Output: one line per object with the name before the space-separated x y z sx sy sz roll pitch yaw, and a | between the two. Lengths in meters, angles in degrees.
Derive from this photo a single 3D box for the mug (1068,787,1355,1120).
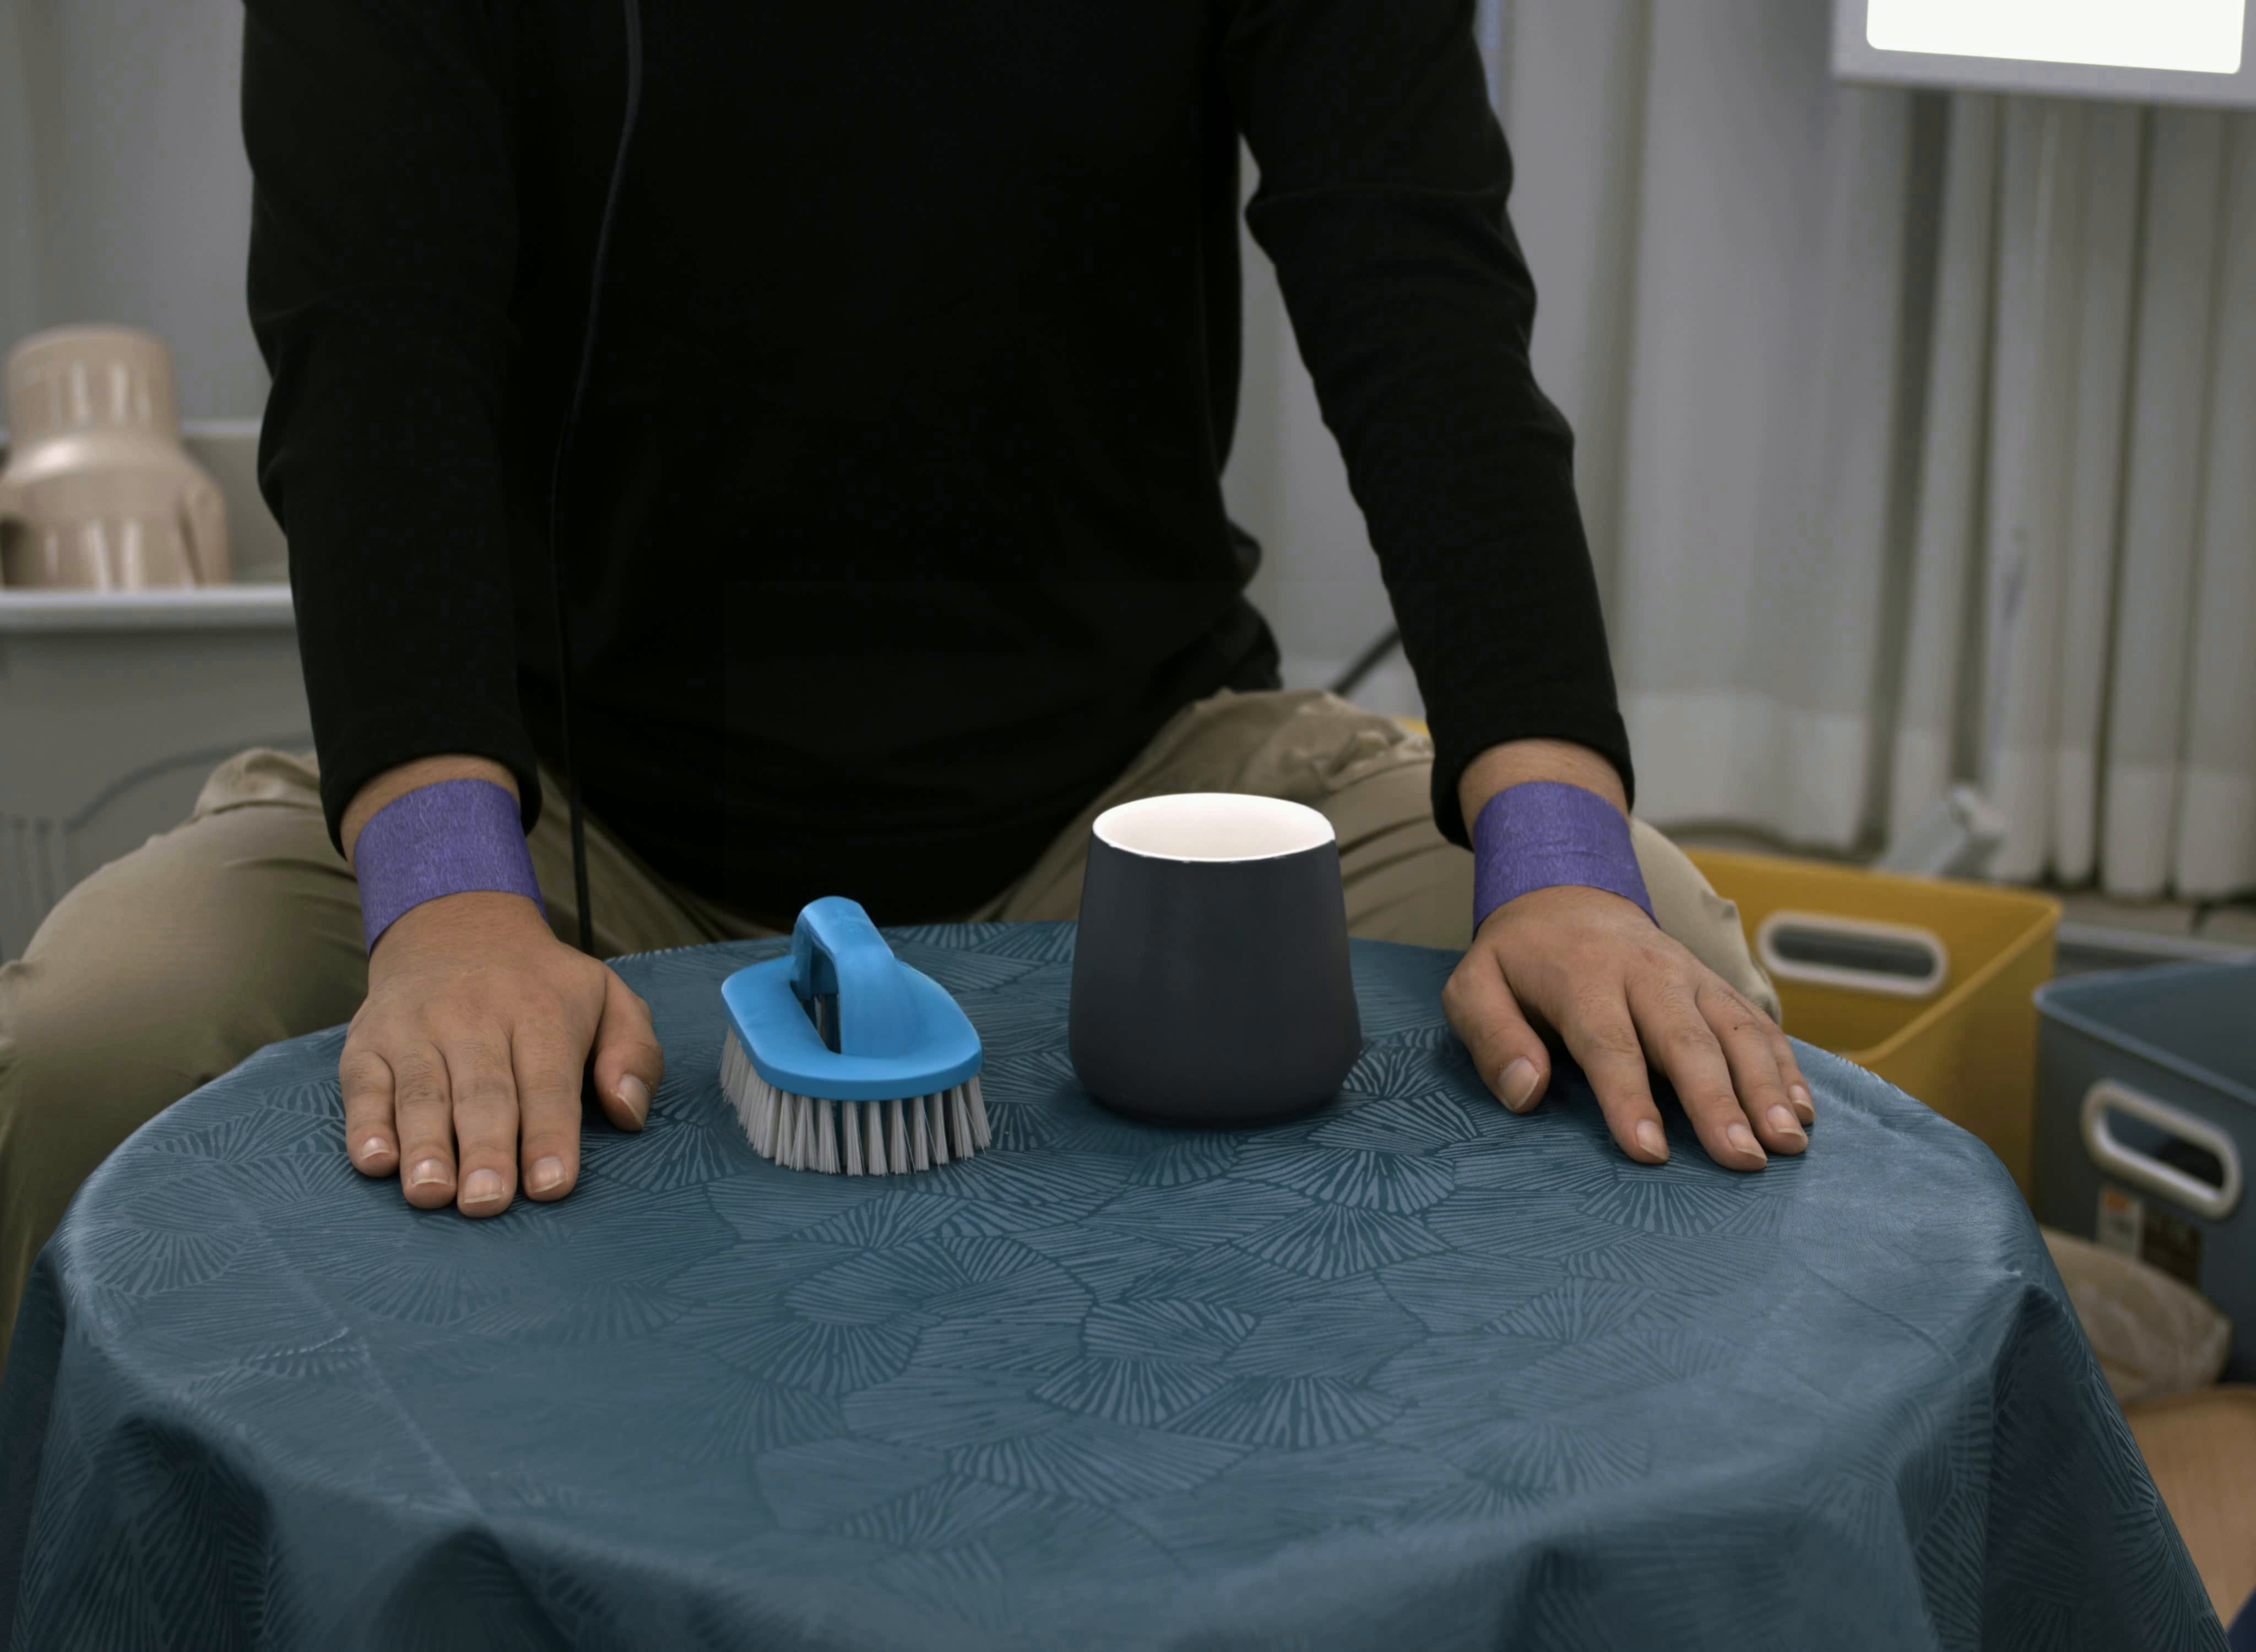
mug | 0.026 0.037 1.717 0.093 0.090 0.122 -1 17 -7

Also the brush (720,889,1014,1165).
brush | -0.087 0.058 1.690 0.084 0.064 0.140 -8 16 -11
